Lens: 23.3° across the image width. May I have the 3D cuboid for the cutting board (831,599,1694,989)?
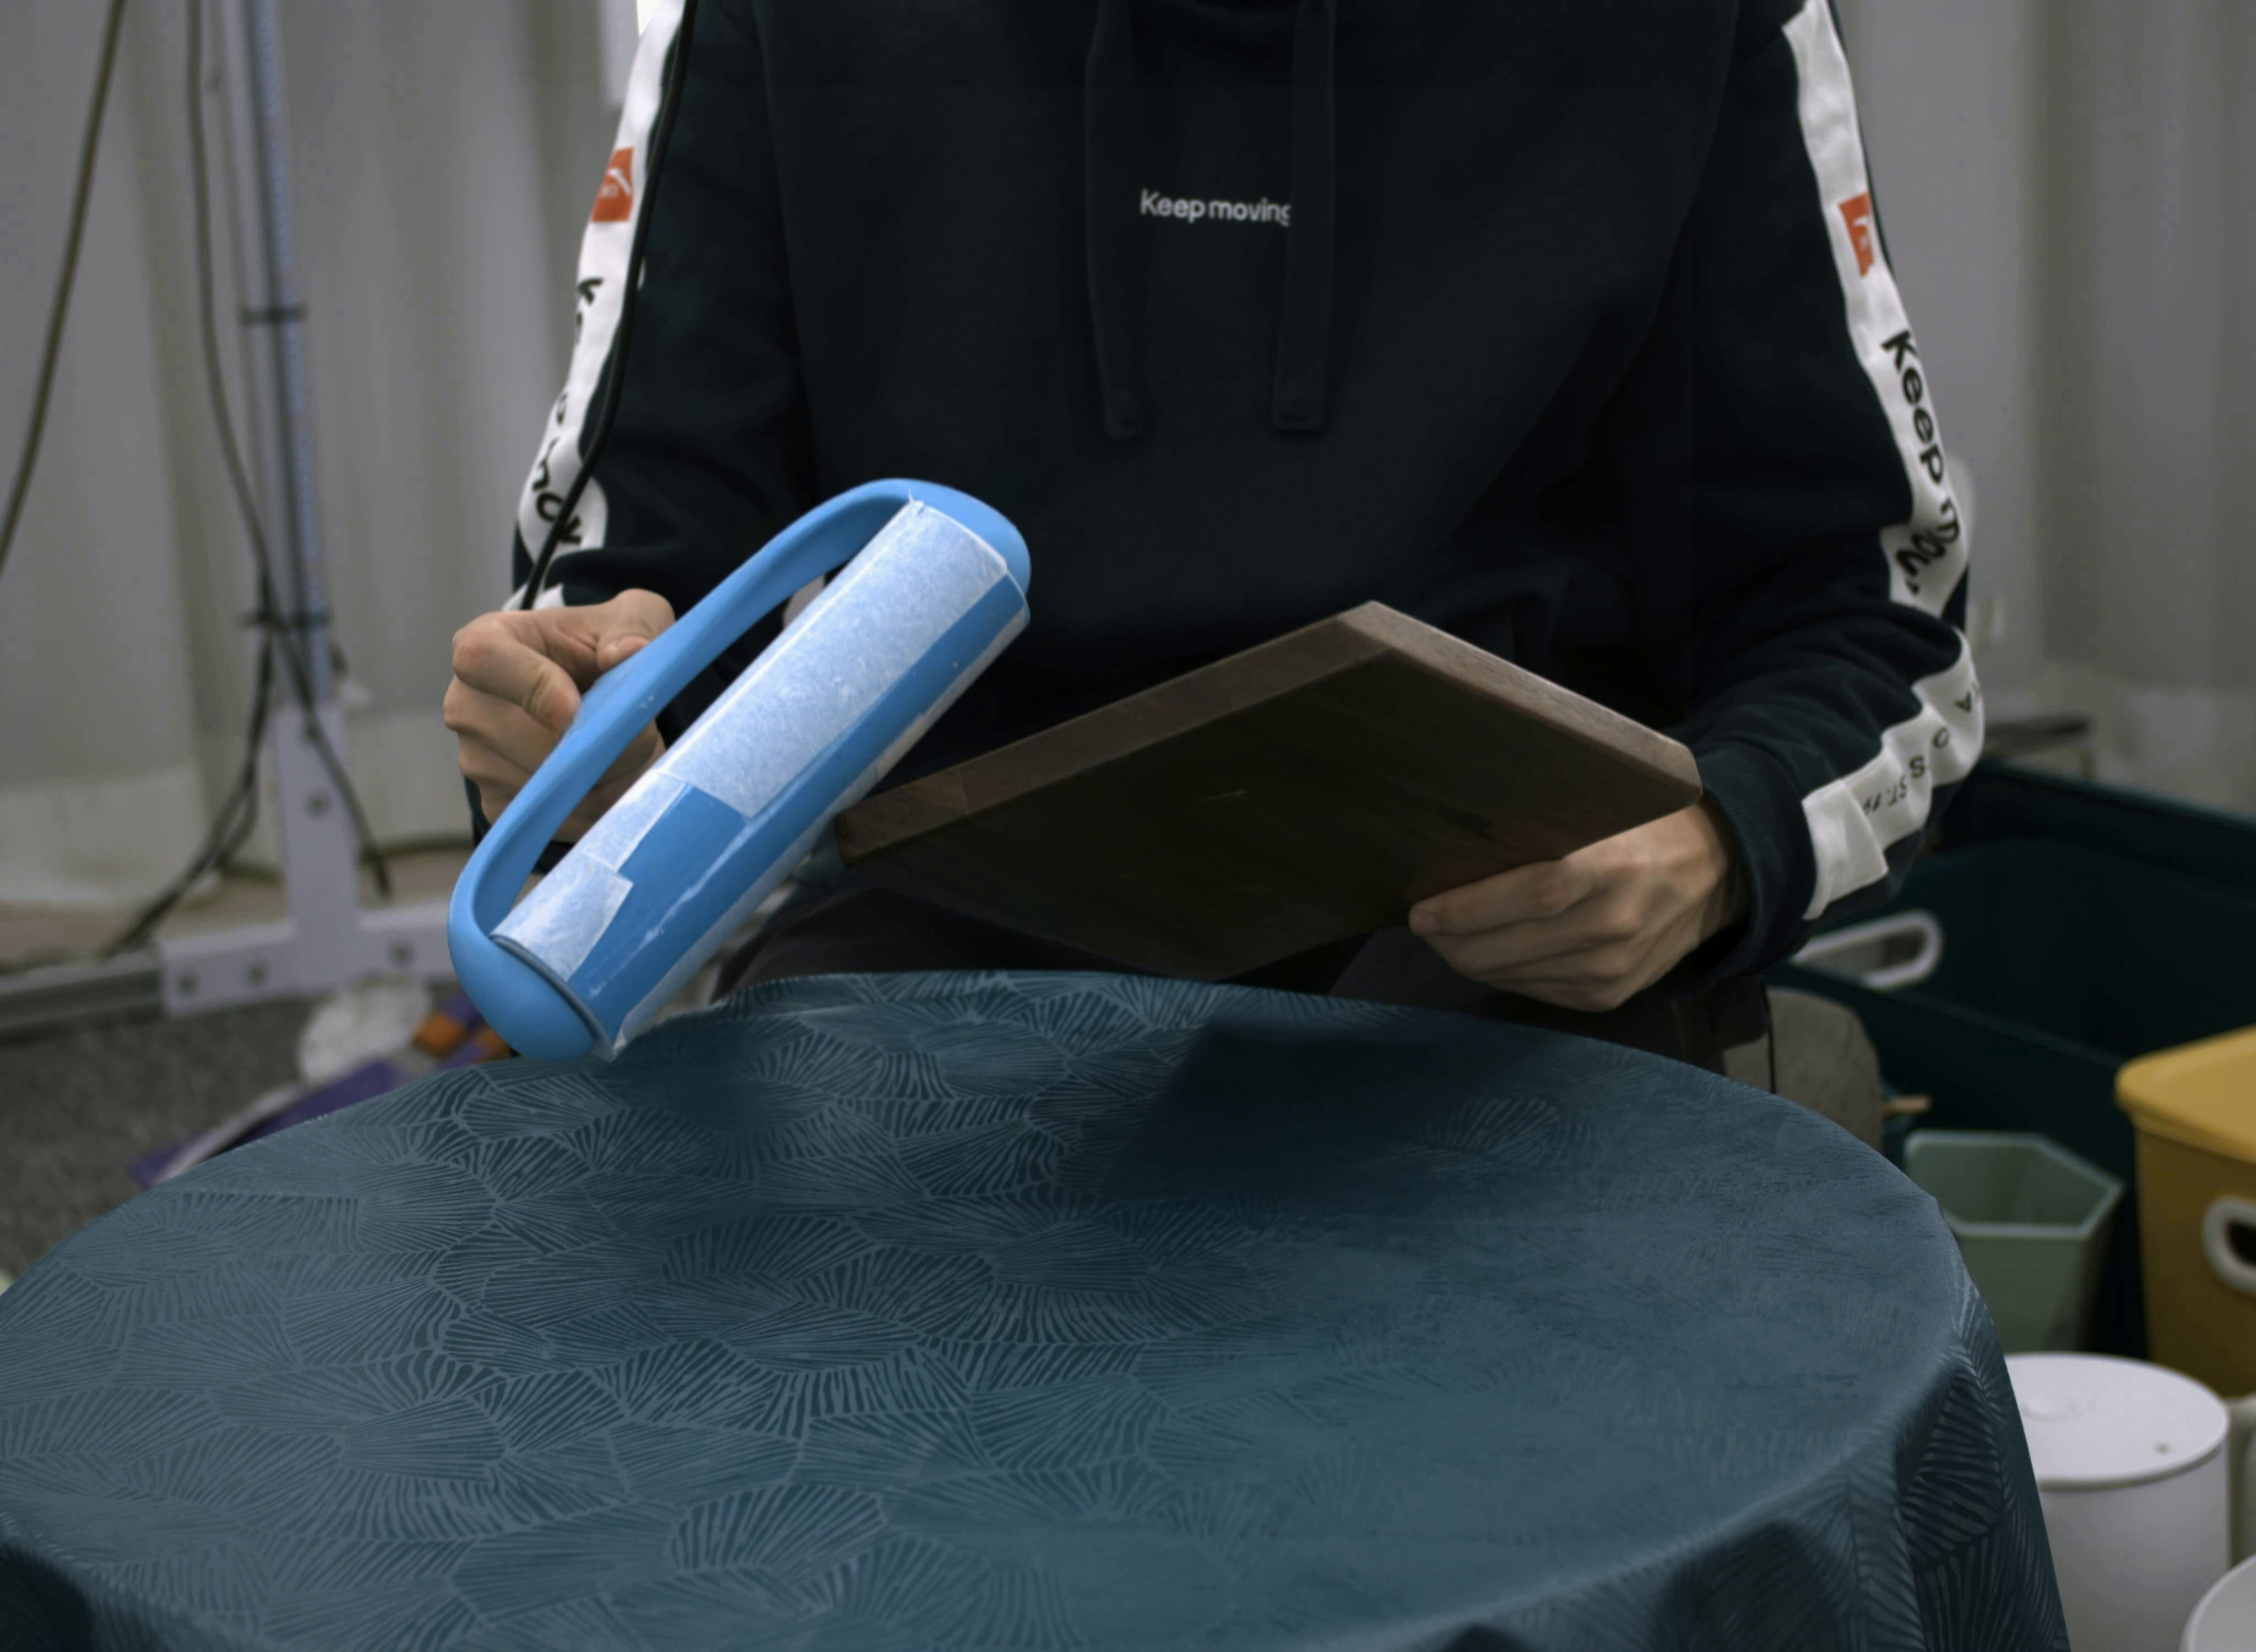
[{"bbox_3d":[0.070,0.003,1.776,0.200,0.023,0.349,-21,-19,23],"label":"cutting board"}]

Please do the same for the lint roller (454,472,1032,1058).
[{"bbox_3d":[-0.144,-0.022,1.723,0.230,0.067,0.181,-50,27,-21],"label":"lint roller"}]
